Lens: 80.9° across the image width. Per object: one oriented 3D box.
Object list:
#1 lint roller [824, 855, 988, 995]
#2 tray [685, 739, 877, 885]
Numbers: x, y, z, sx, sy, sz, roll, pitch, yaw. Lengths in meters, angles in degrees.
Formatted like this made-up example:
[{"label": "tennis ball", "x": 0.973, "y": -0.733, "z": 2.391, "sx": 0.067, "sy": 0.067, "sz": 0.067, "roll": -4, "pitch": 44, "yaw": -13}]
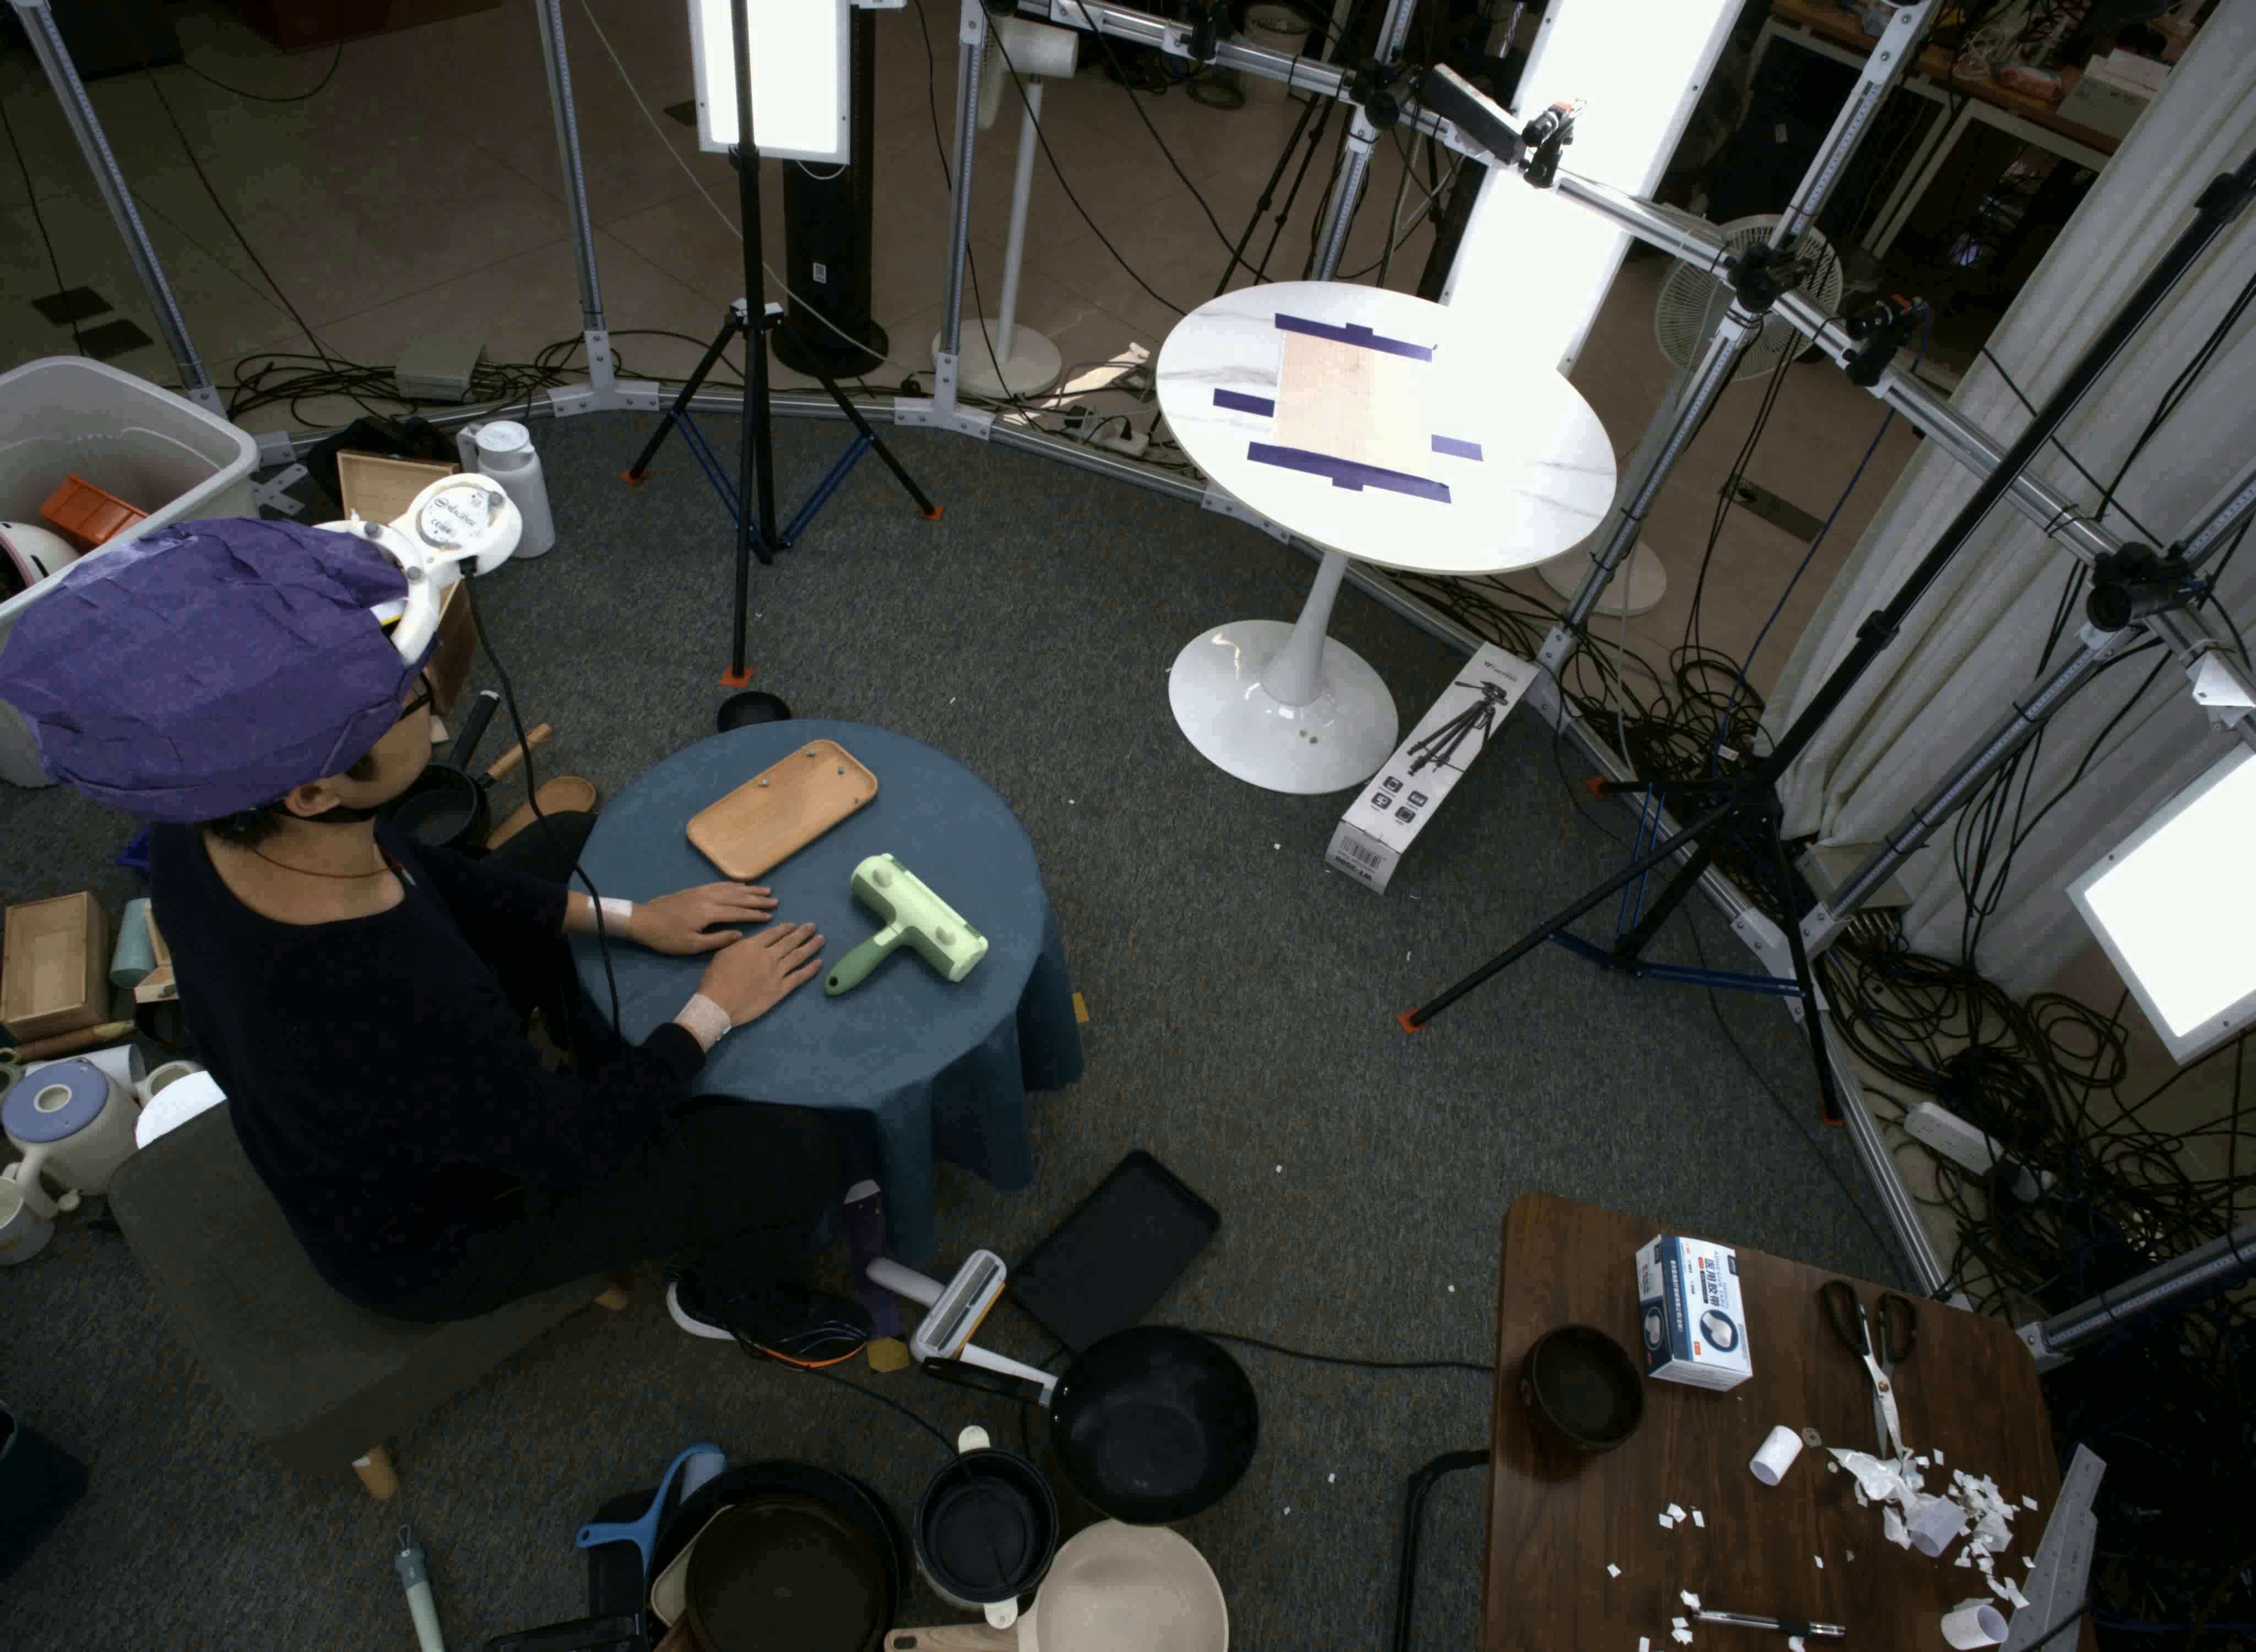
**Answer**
[{"label": "lint roller", "x": -0.299, "y": 0.133, "z": 1.591, "sx": 0.194, "sy": 0.084, "sz": 0.184, "roll": 38, "pitch": 48, "yaw": 16}, {"label": "tray", "x": -0.456, "y": -0.022, "z": 1.712, "sx": 0.127, "sy": 0.023, "sz": 0.251, "roll": 38, "pitch": 54, "yaw": 17}]
